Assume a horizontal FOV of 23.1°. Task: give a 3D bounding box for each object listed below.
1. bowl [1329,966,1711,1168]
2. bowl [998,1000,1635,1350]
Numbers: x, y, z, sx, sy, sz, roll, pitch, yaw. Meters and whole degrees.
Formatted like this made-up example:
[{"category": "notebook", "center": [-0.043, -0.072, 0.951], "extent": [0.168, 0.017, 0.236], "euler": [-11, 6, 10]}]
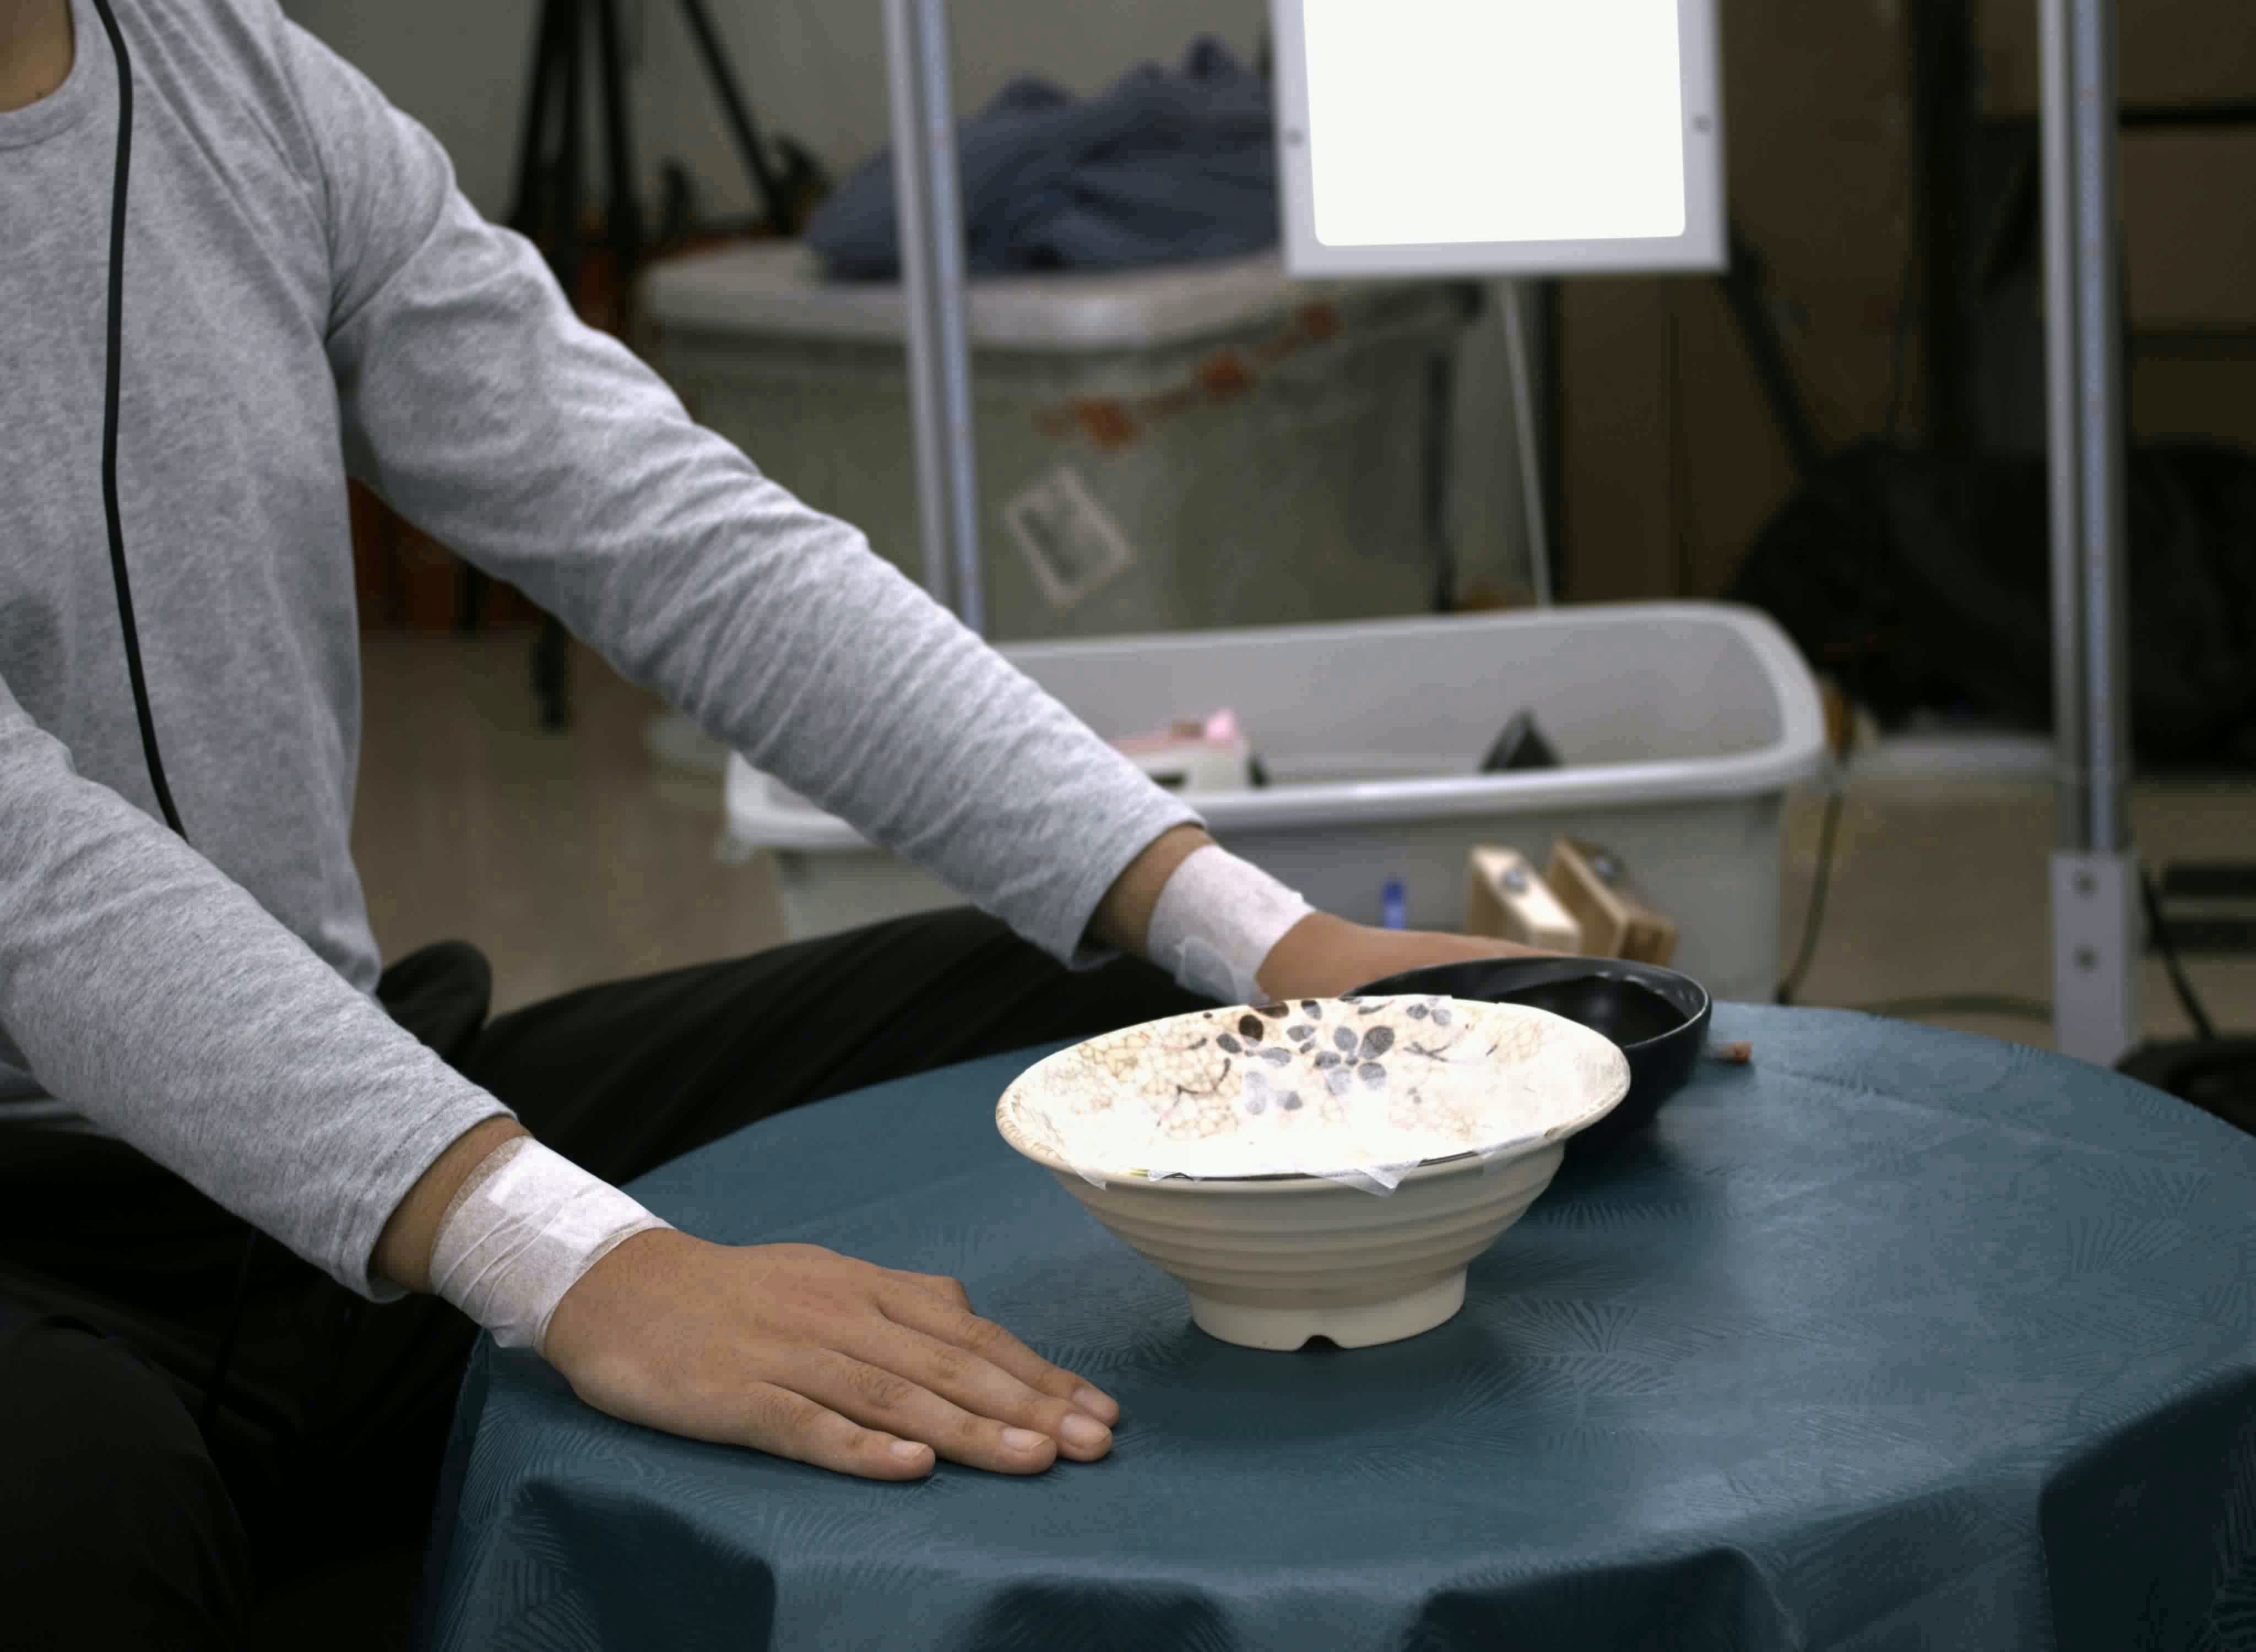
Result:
[{"category": "bowl", "center": [0.136, 0.088, 1.914], "extent": [0.139, 0.050, 0.140], "euler": [-7, 11, 0]}, {"category": "bowl", "center": [0.063, 0.117, 1.753], "extent": [0.203, 0.078, 0.204], "euler": [-5, 12, 0]}]
